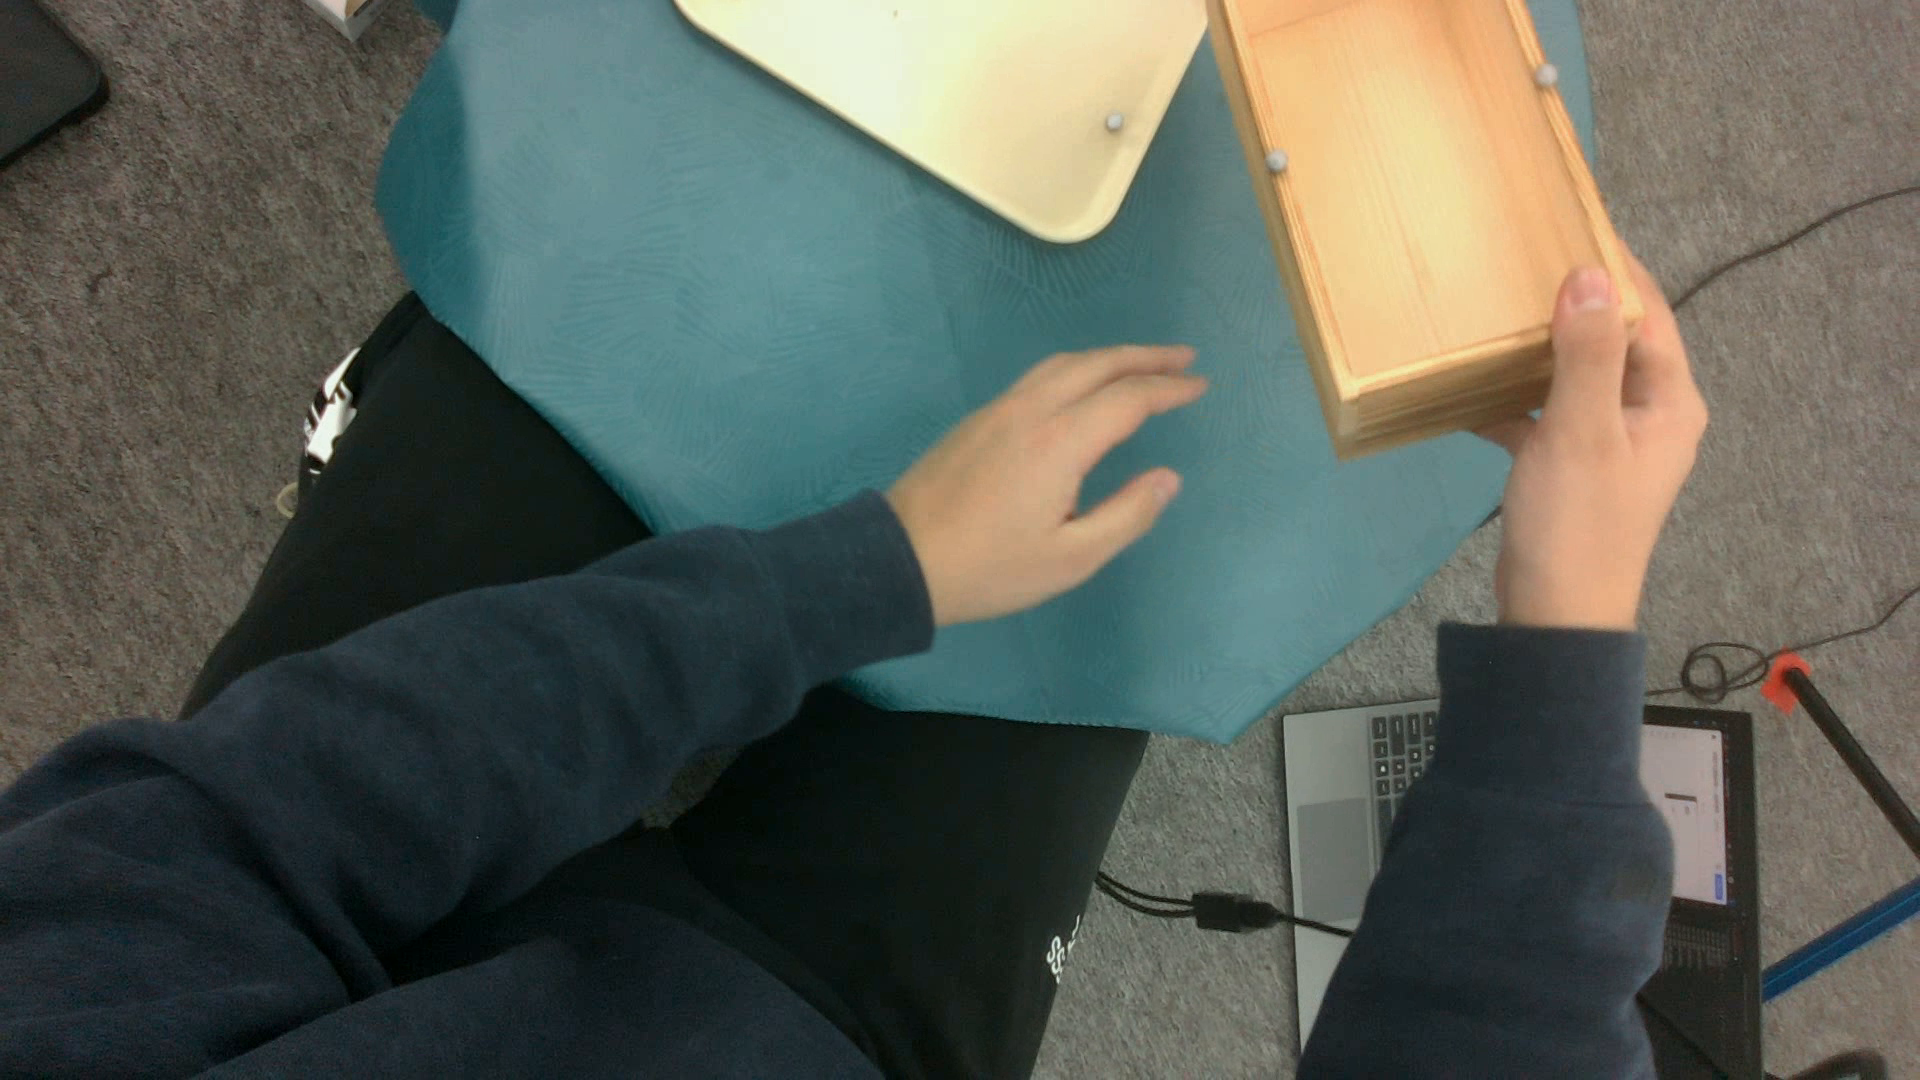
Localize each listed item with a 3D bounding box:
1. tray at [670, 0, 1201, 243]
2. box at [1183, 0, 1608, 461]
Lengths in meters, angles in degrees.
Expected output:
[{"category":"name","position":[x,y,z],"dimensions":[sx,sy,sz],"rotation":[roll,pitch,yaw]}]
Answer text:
[{"category":"tray","position":[-0.007,-0.264,0.664],"dimensions":[0.240,0.017,0.171],"rotation":[28,84,-17]},{"category":"box","position":[0.170,-0.153,0.566],"dimensions":[0.107,0.080,0.212],"rotation":[-17,71,11]}]
